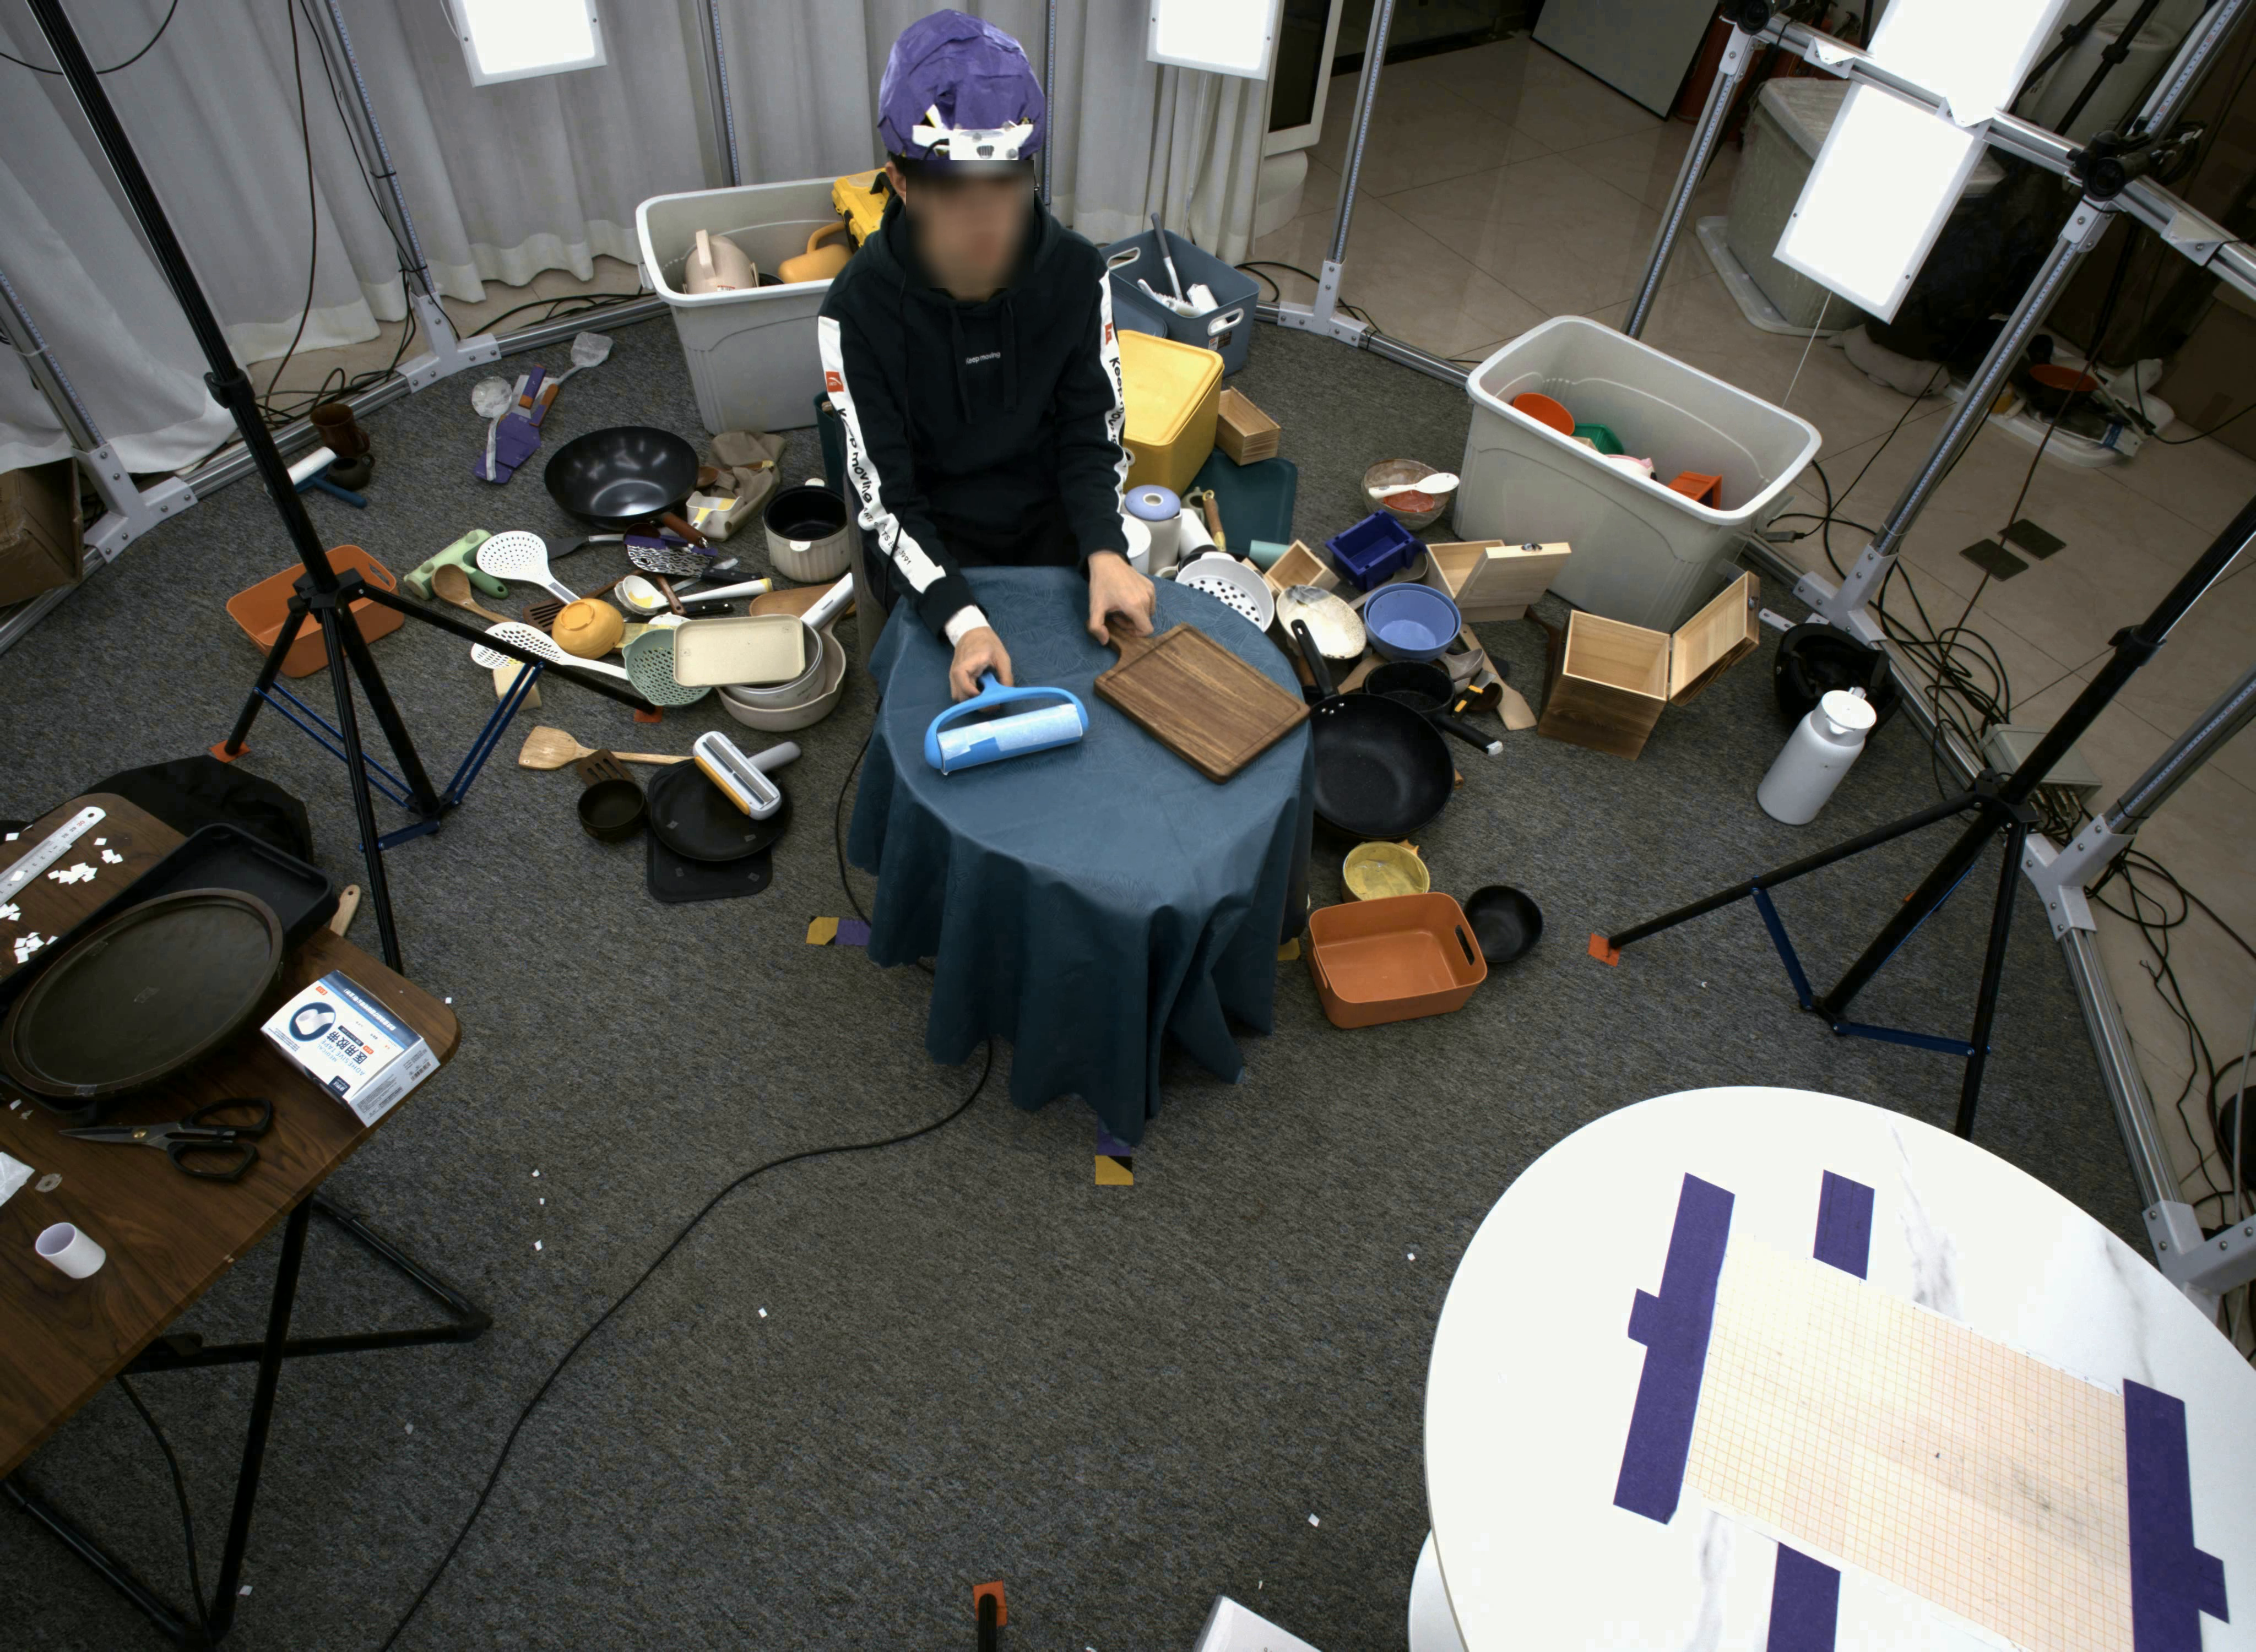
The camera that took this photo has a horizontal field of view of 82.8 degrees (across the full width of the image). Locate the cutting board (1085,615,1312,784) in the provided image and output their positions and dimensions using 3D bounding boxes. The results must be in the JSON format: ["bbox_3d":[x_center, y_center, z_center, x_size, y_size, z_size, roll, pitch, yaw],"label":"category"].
[{"bbox_3d":[0.071,-0.207,1.838,0.357,0.022,0.203,37,56,25],"label":"cutting board"}]

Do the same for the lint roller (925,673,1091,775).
[{"bbox_3d":[-0.183,-0.162,1.760,0.229,0.066,0.184,-17,54,-16],"label":"lint roller"}]
